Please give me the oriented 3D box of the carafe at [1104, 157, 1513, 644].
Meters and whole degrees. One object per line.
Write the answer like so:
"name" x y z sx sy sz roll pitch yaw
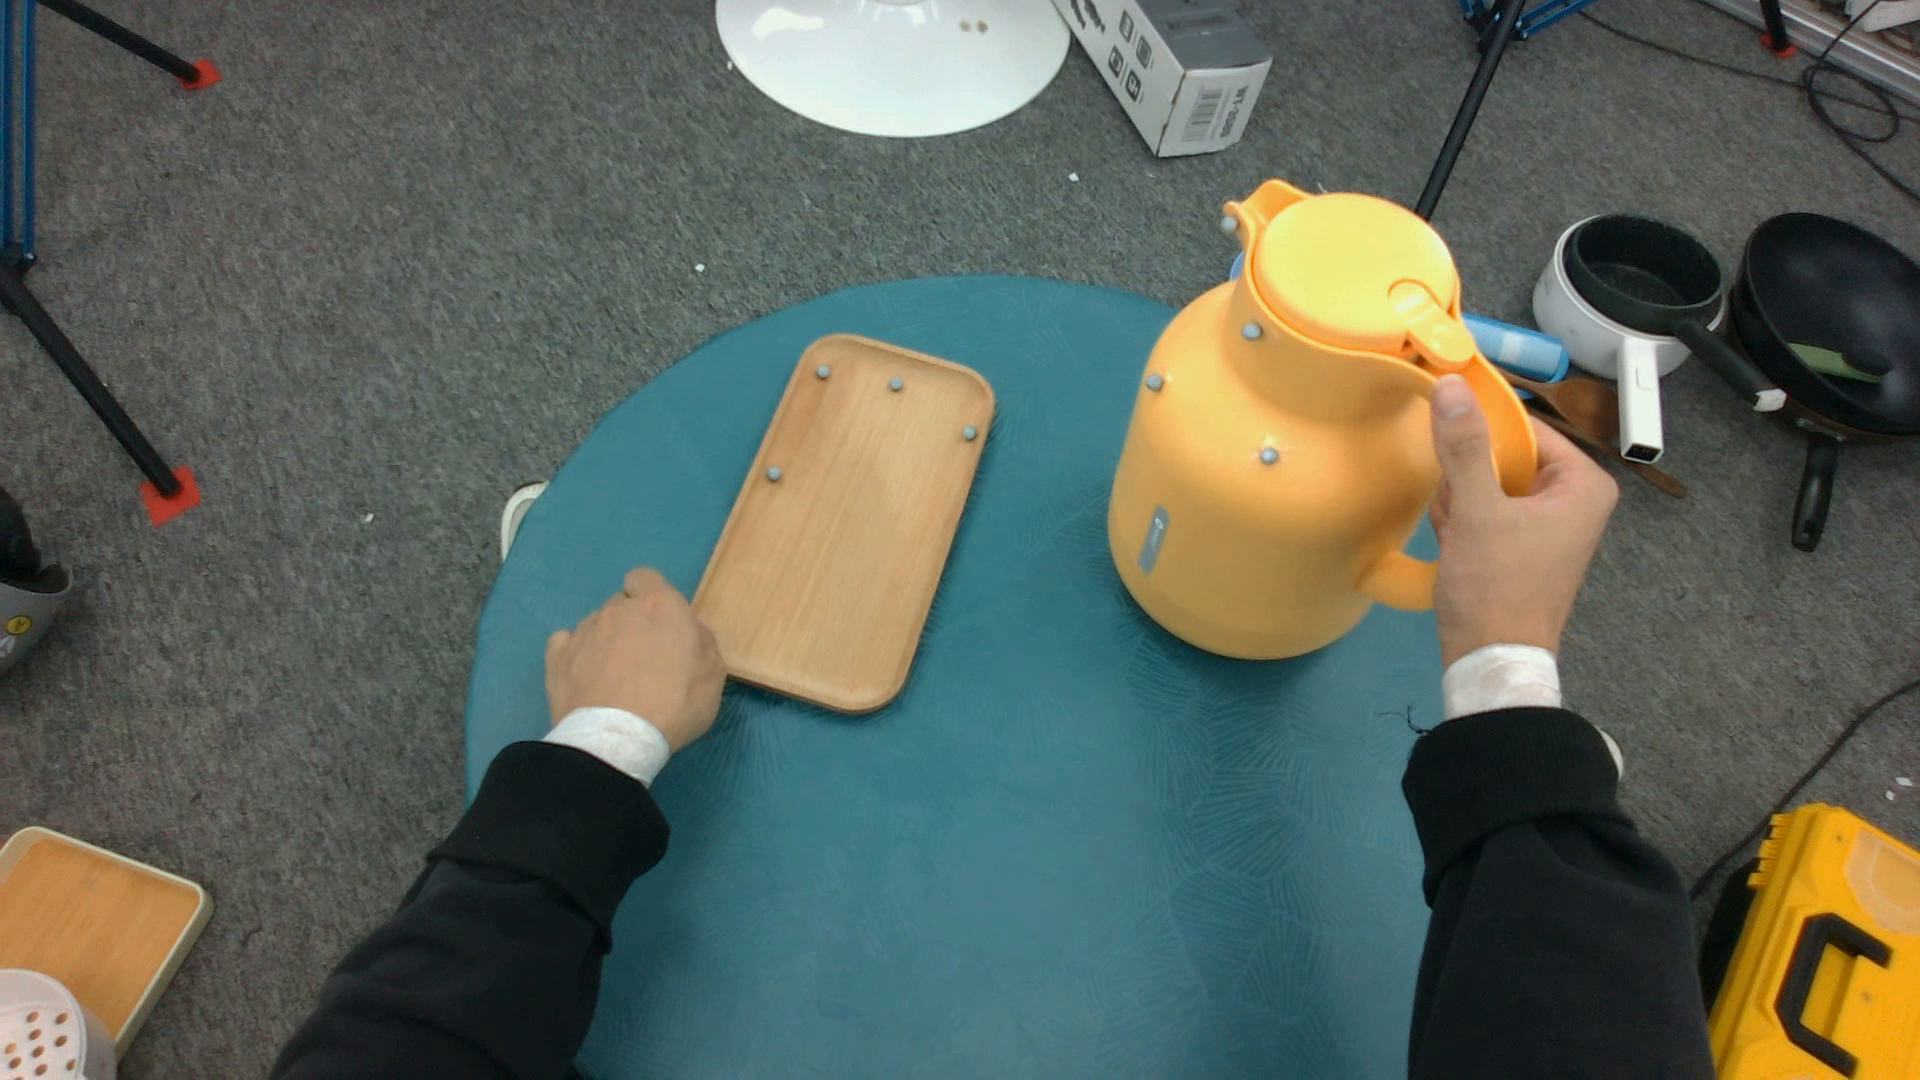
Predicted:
"carafe" 0.174 -0.054 0.707 0.164 0.259 0.202 -29 61 -18

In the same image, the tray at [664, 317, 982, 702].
"tray" -0.074 -0.025 0.809 0.130 0.023 0.252 16 59 4
